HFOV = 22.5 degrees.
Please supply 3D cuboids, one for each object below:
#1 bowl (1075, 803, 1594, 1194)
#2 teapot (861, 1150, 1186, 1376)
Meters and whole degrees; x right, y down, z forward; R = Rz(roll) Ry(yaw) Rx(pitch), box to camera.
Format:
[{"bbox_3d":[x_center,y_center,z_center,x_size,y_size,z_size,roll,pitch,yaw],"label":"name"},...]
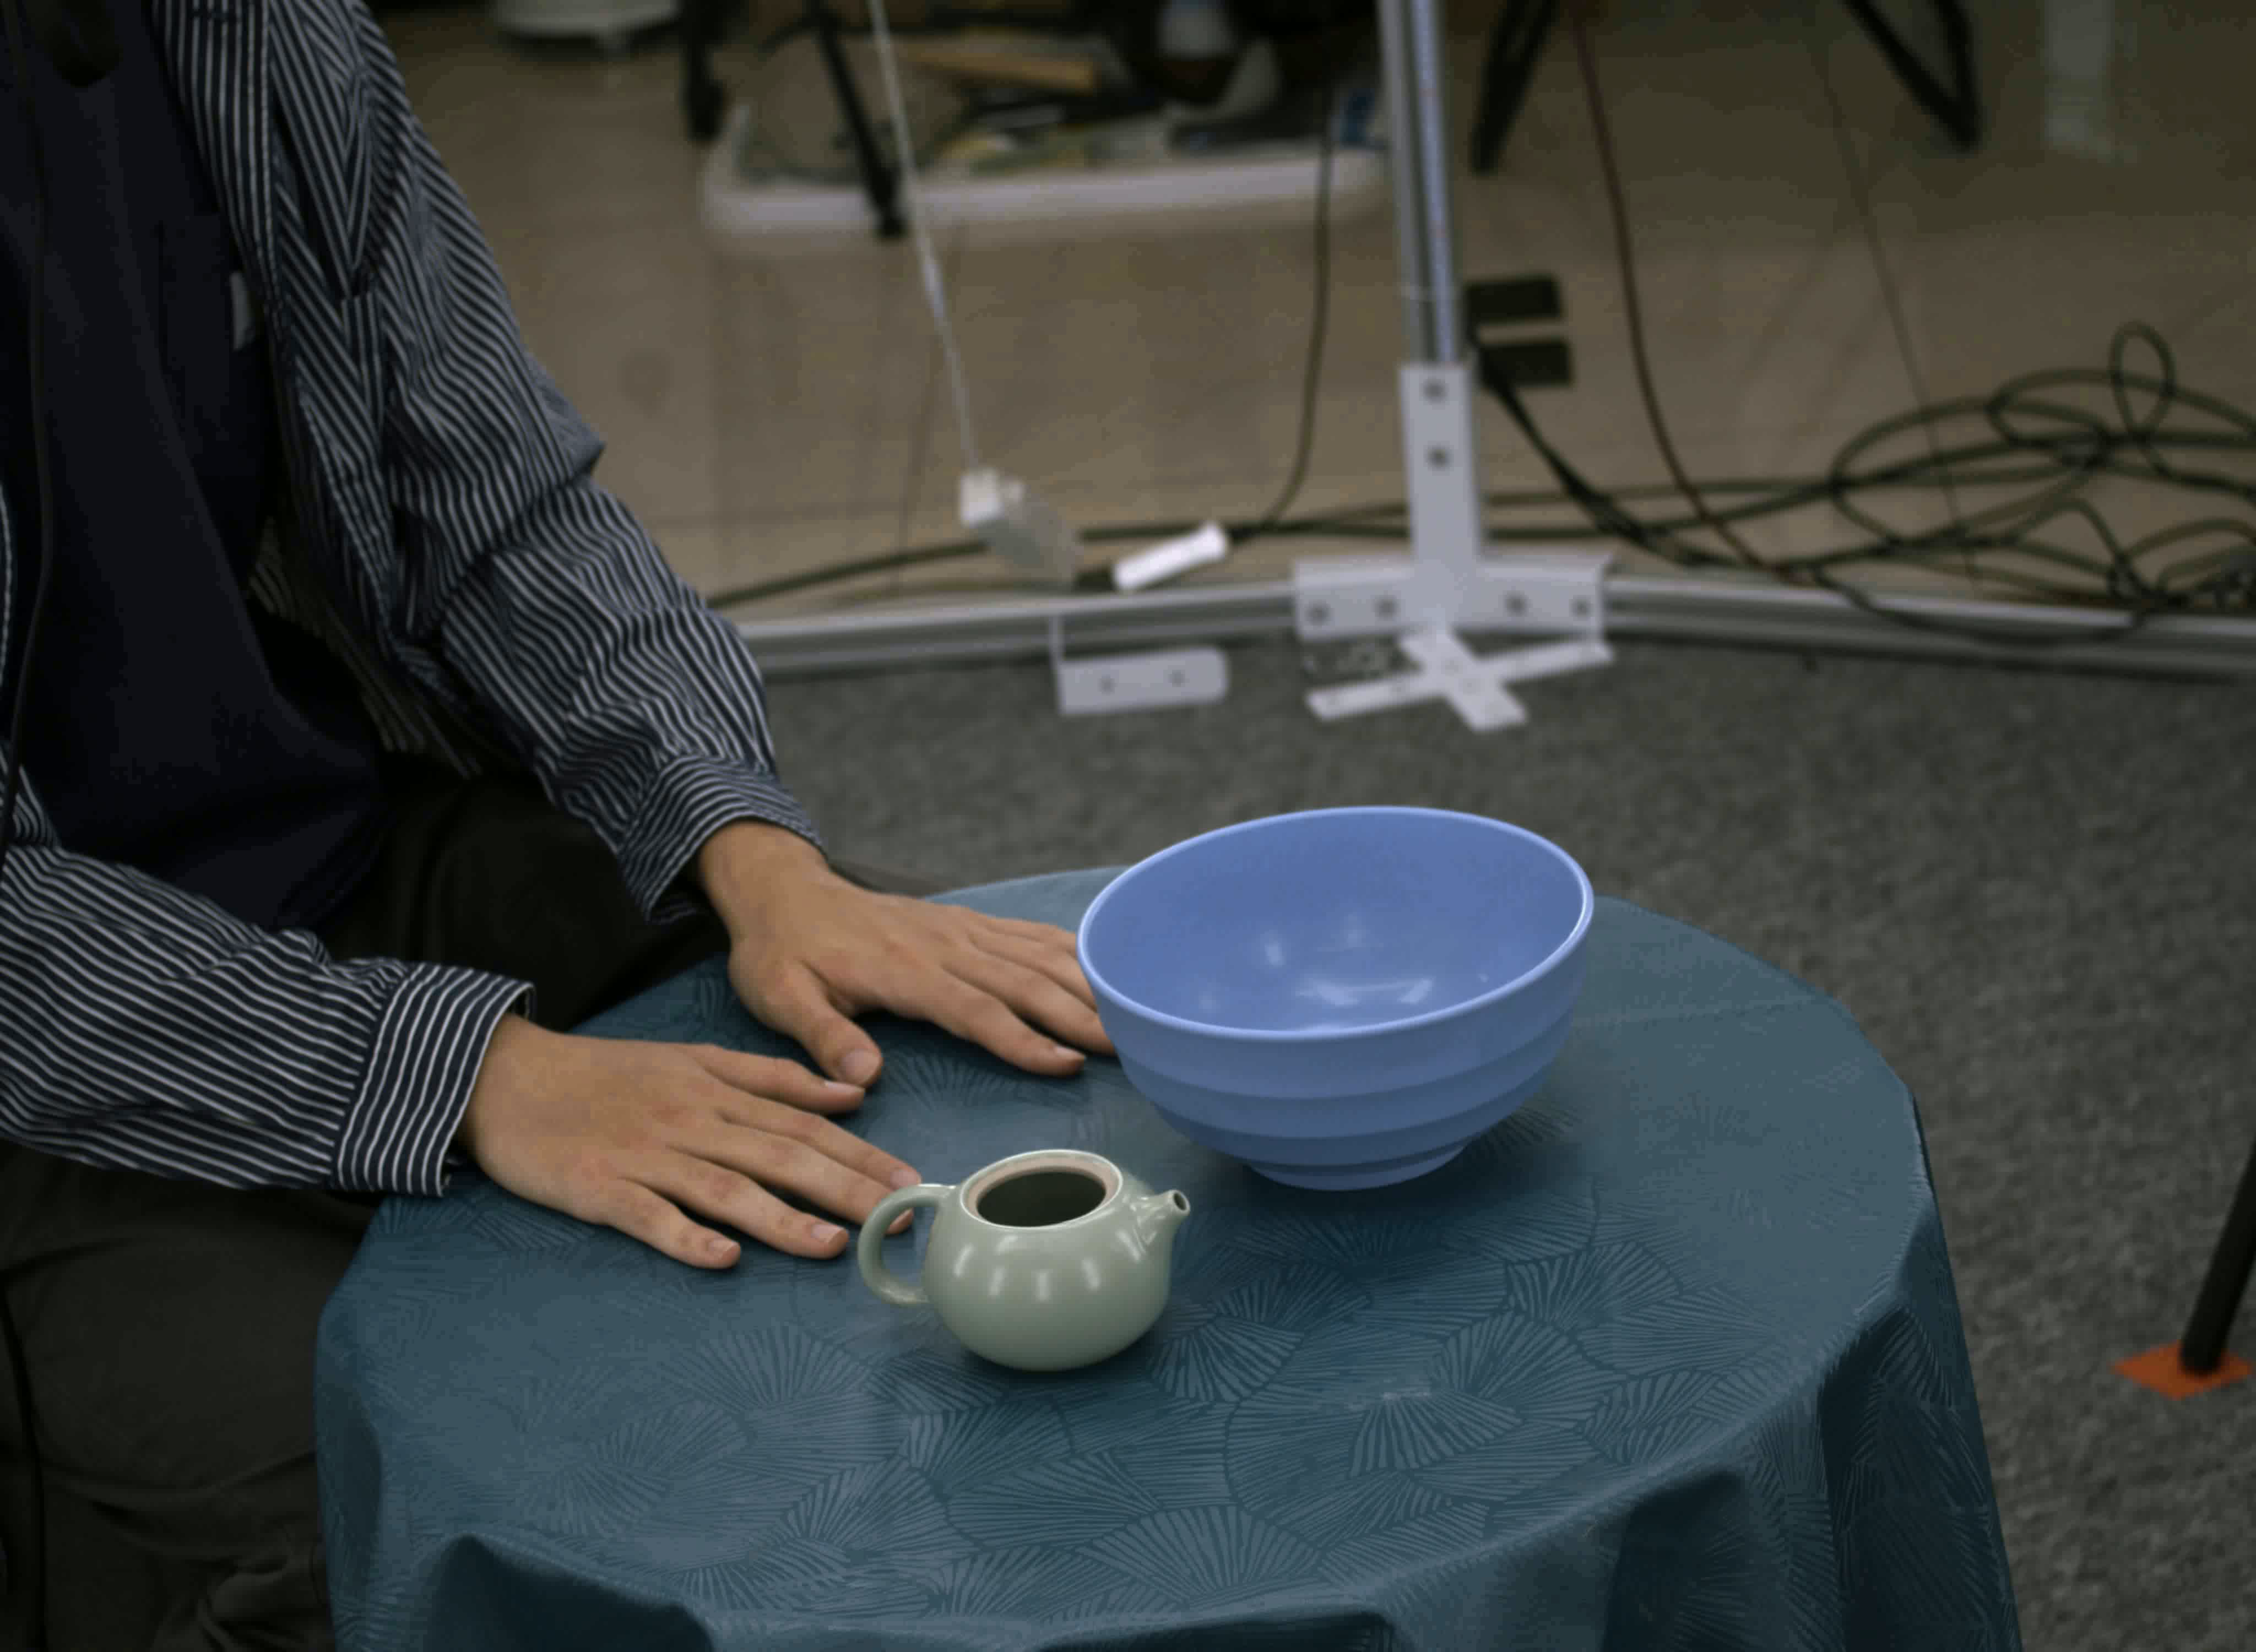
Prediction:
[{"bbox_3d":[0.082,0.076,2.153,0.196,0.097,0.193,-6,26,3],"label":"bowl"},{"bbox_3d":[-0.037,0.158,2.050,0.128,0.062,0.090,3,30,21],"label":"teapot"}]
